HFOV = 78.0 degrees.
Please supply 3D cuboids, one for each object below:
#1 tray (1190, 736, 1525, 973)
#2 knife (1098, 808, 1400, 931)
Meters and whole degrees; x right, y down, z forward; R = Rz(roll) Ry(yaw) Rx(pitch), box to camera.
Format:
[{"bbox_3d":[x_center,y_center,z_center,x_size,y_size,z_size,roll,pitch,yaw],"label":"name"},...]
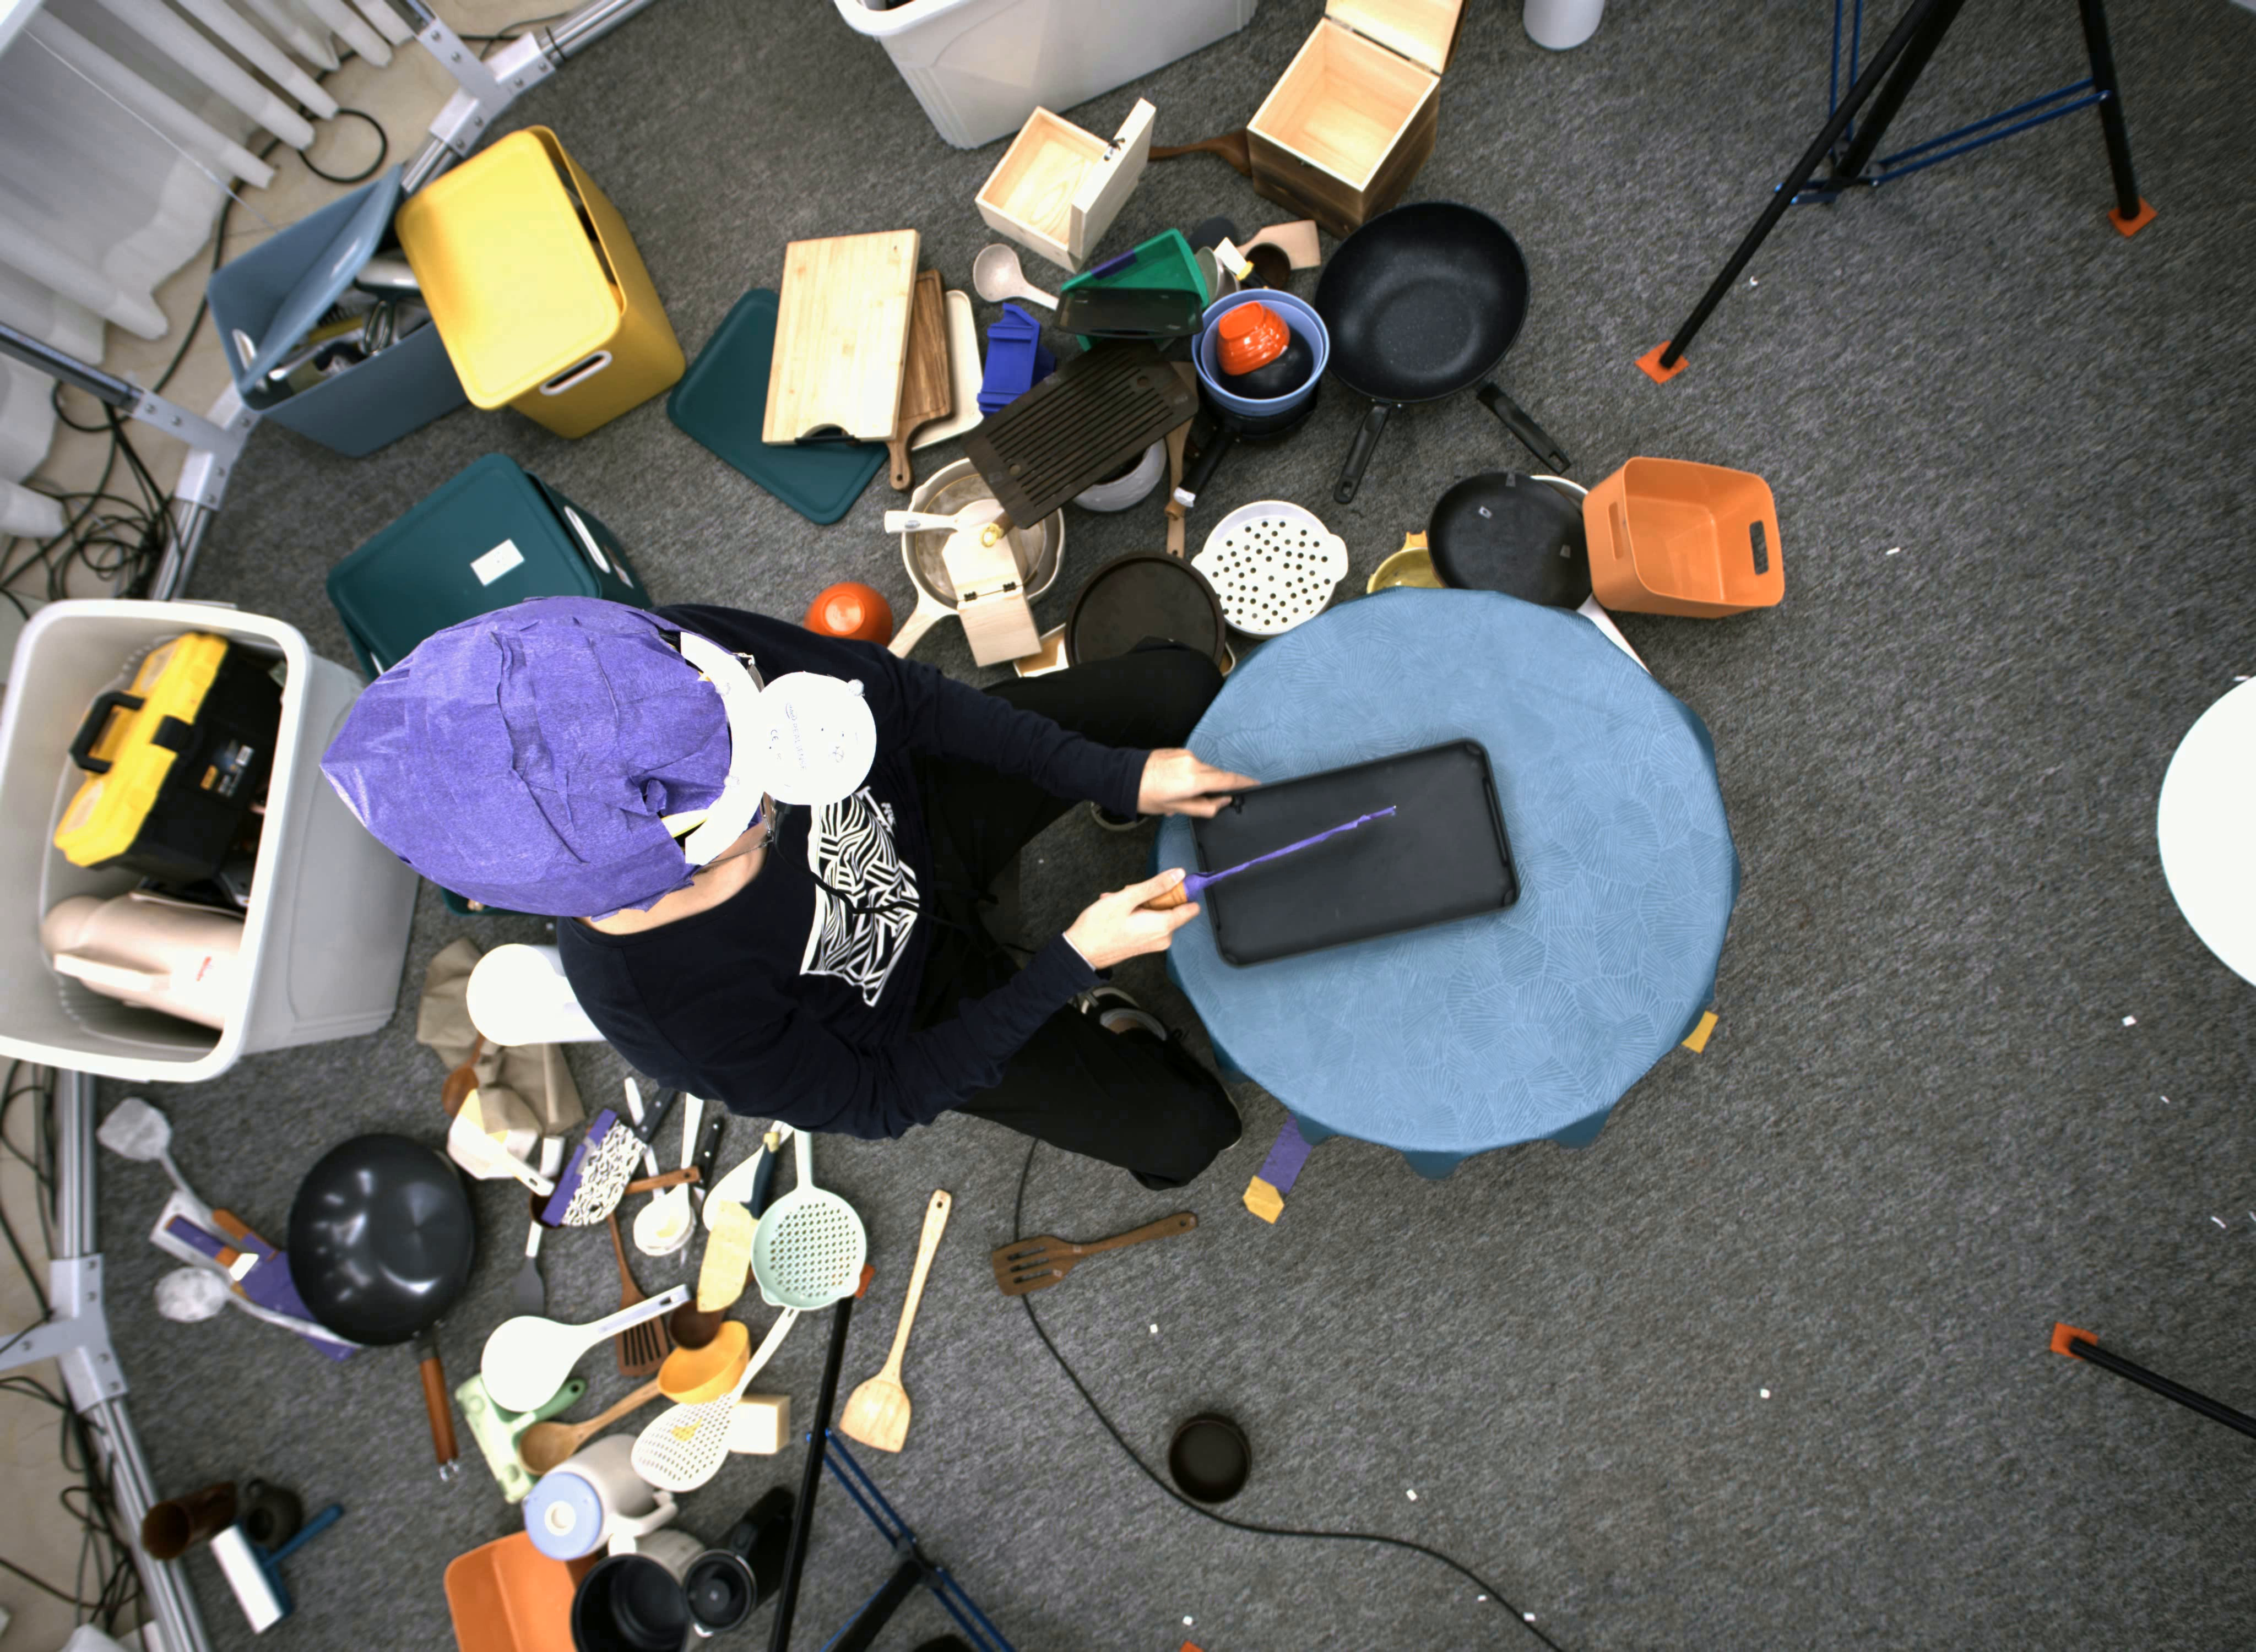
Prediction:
[{"bbox_3d":[0.237,0.029,1.440,0.319,0.037,0.184,-15,88,7],"label":"tray"},{"bbox_3d":[0.126,0.041,1.401,0.317,0.104,0.032,-20,84,9],"label":"knife"}]
